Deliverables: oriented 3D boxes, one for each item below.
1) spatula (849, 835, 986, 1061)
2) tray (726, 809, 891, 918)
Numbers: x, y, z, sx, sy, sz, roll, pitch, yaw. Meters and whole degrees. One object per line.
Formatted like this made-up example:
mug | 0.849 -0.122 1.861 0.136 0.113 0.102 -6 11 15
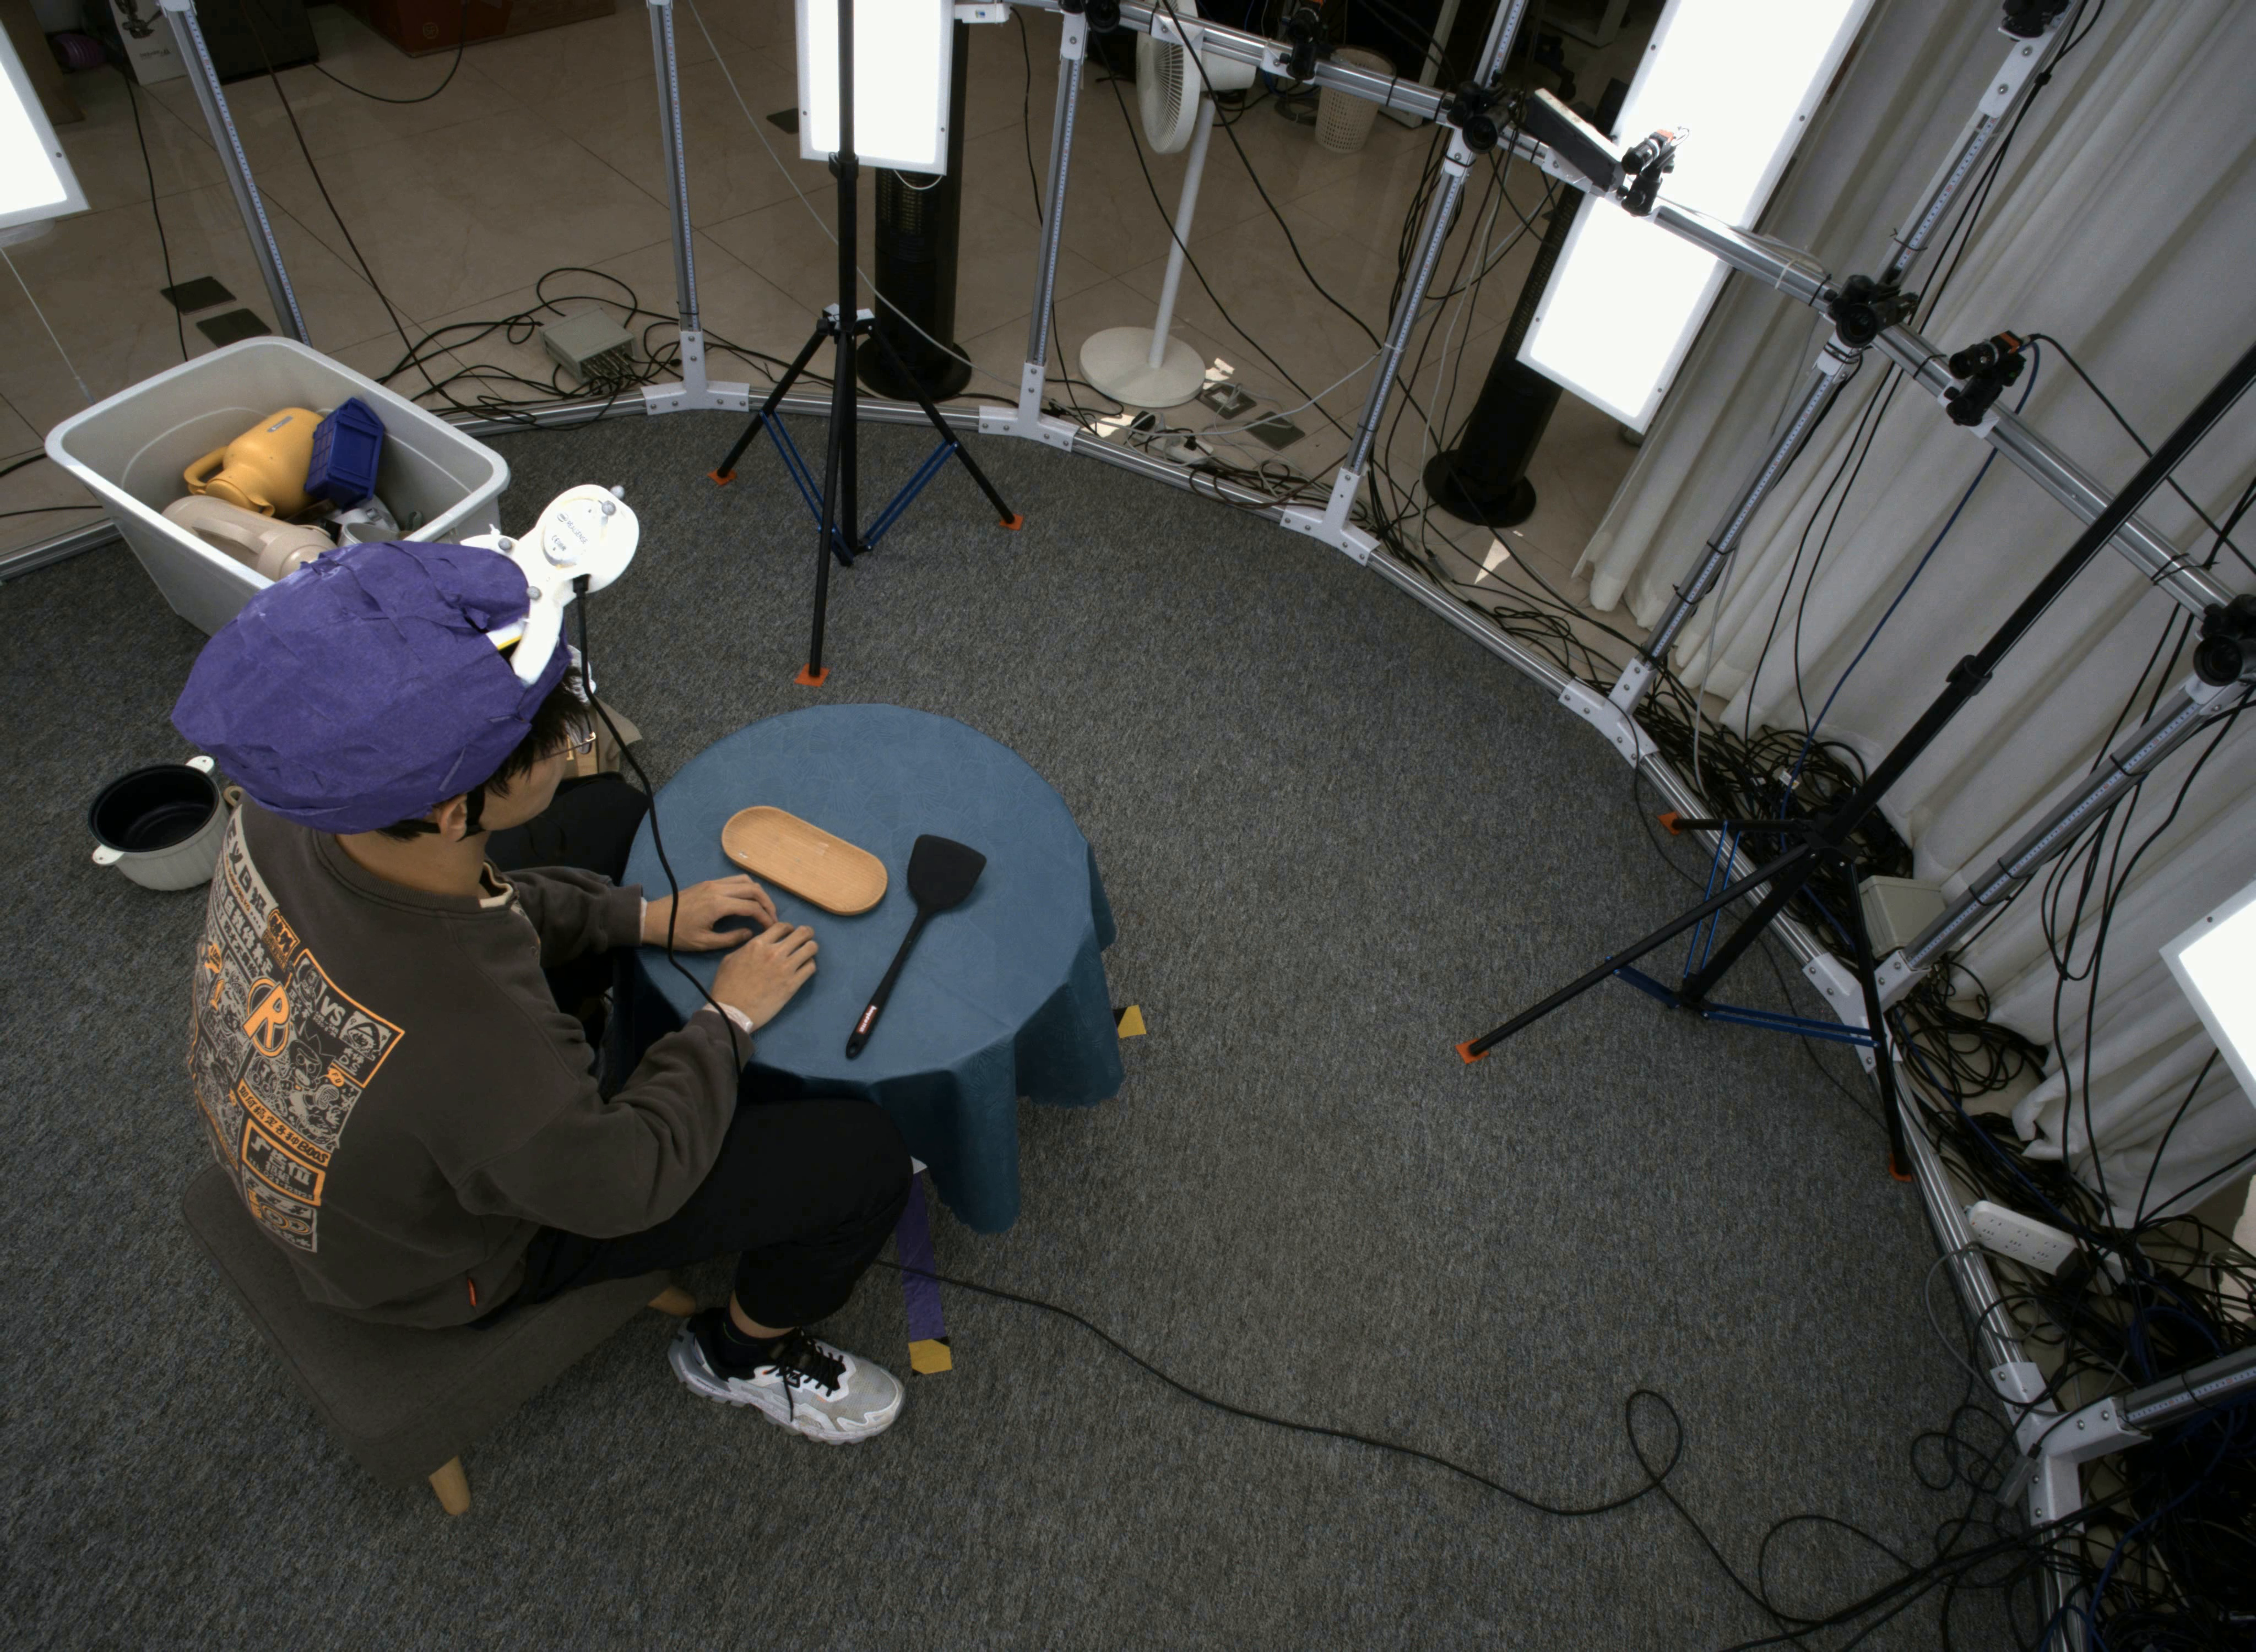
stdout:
spatula | -0.280 0.150 1.640 0.098 0.041 0.323 20 52 3
tray | -0.418 0.047 1.696 0.228 0.021 0.101 26 53 4
